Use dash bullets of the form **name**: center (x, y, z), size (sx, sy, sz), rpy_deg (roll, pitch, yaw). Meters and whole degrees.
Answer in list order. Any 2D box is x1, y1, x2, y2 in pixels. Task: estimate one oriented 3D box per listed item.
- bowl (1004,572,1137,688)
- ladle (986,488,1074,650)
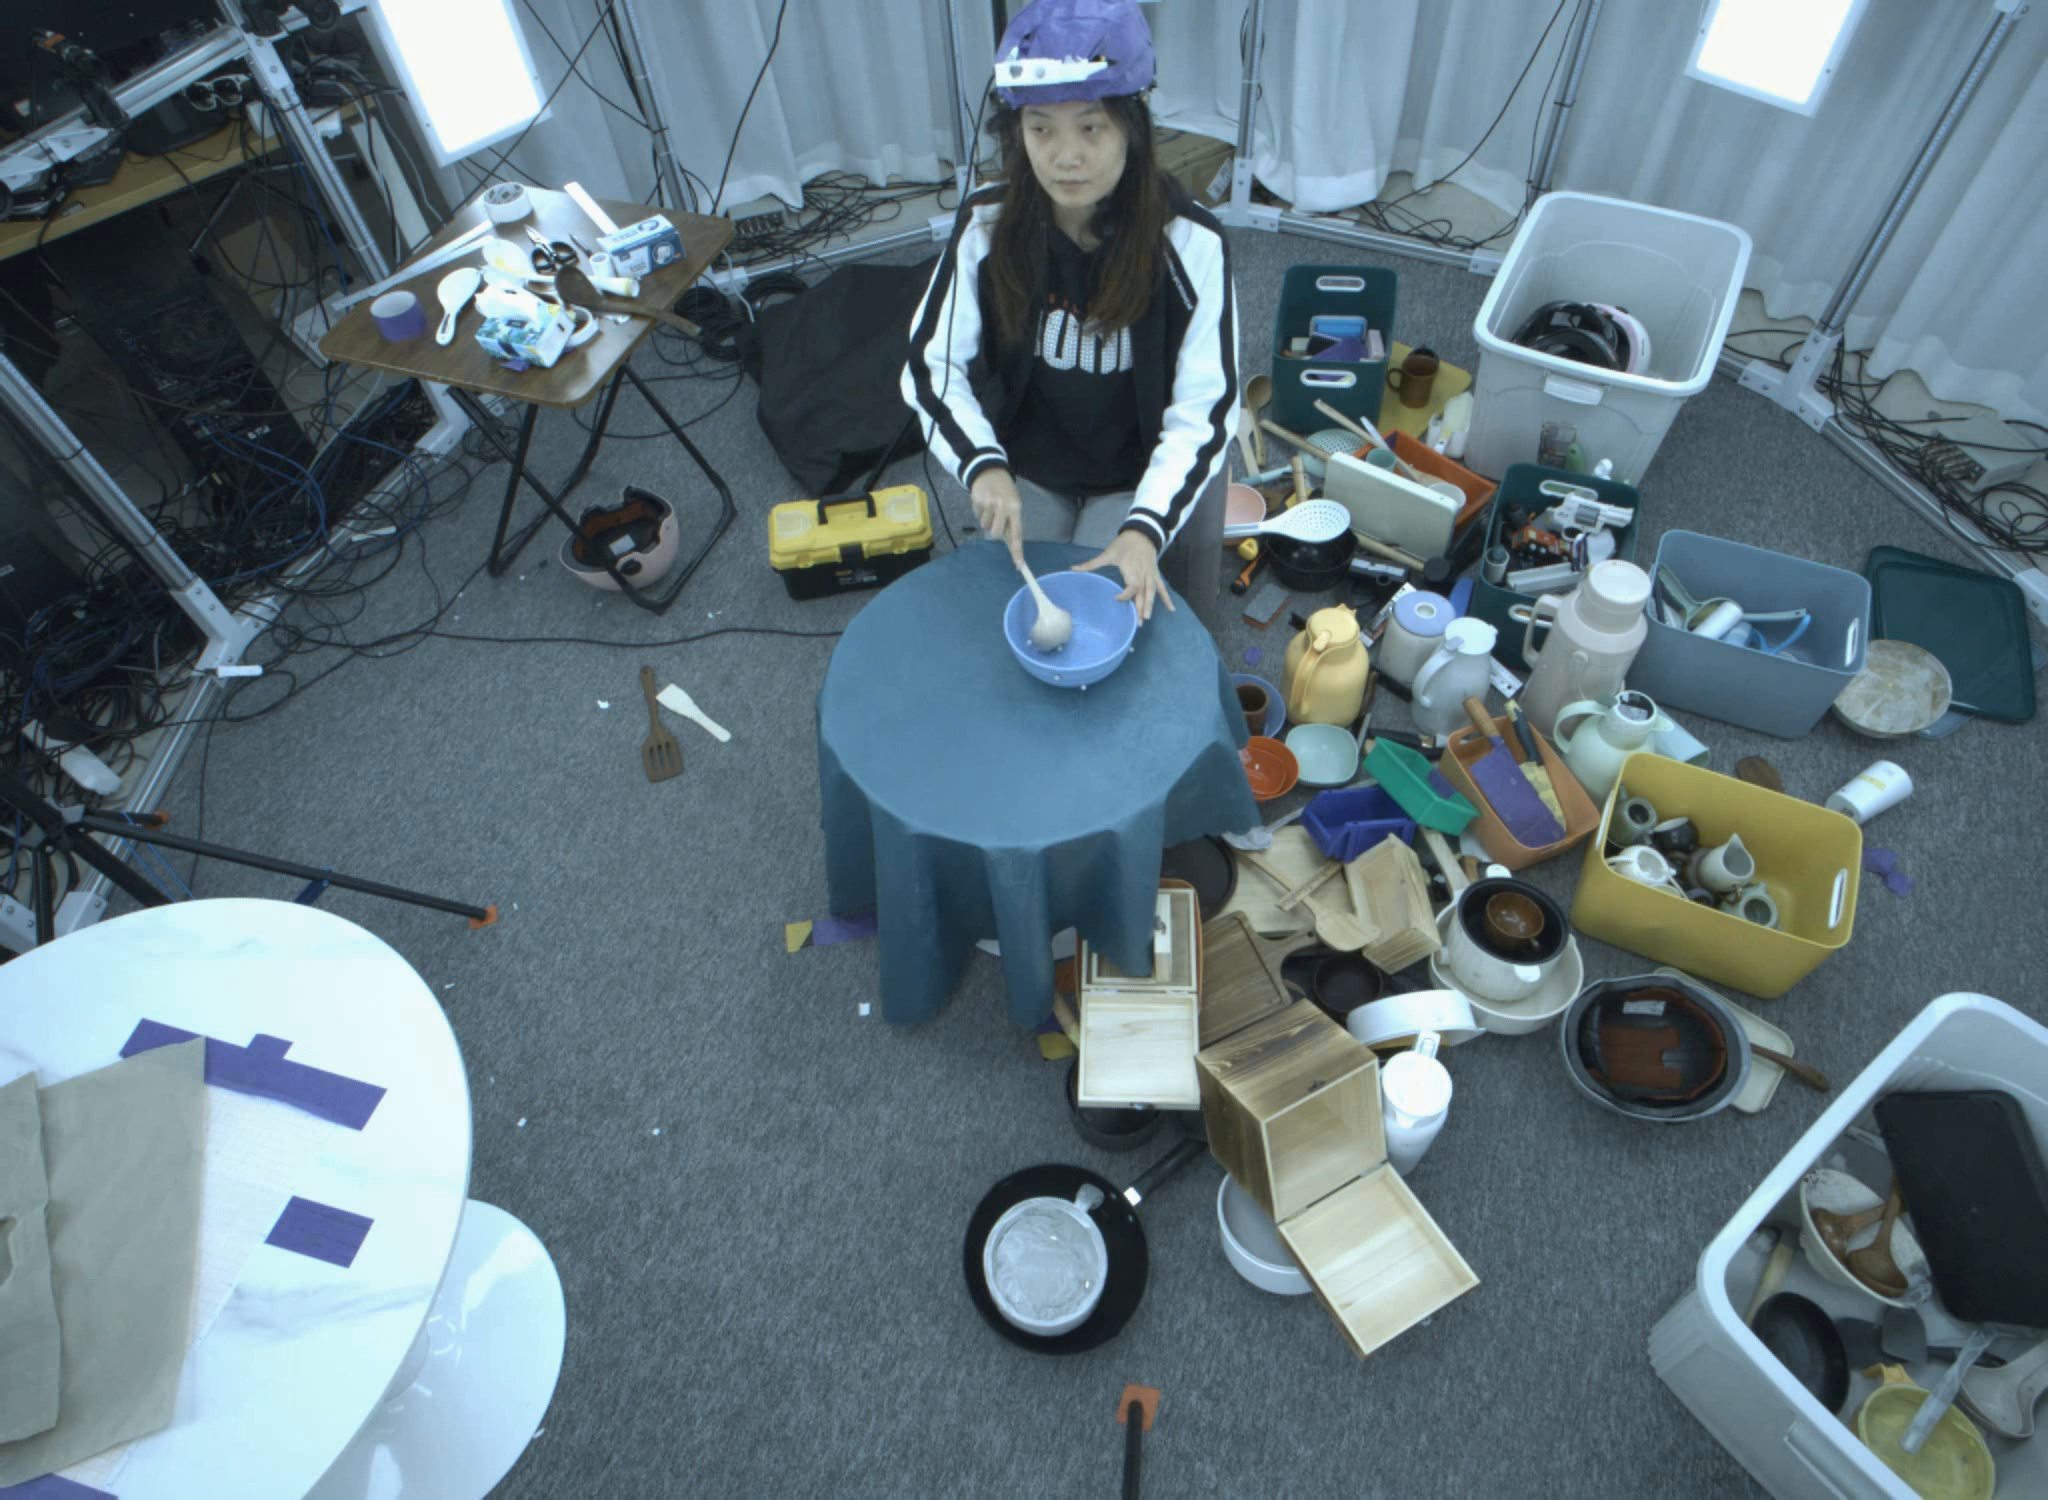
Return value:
- **bowl**: center (0.071, -0.165, 1.847), size (0.196, 0.096, 0.194), rpy_deg (-1, 54, 3)
- **ladle**: center (-0.003, -0.273, 1.859), size (0.072, 0.072, 0.254), rpy_deg (-26, 88, -11)
